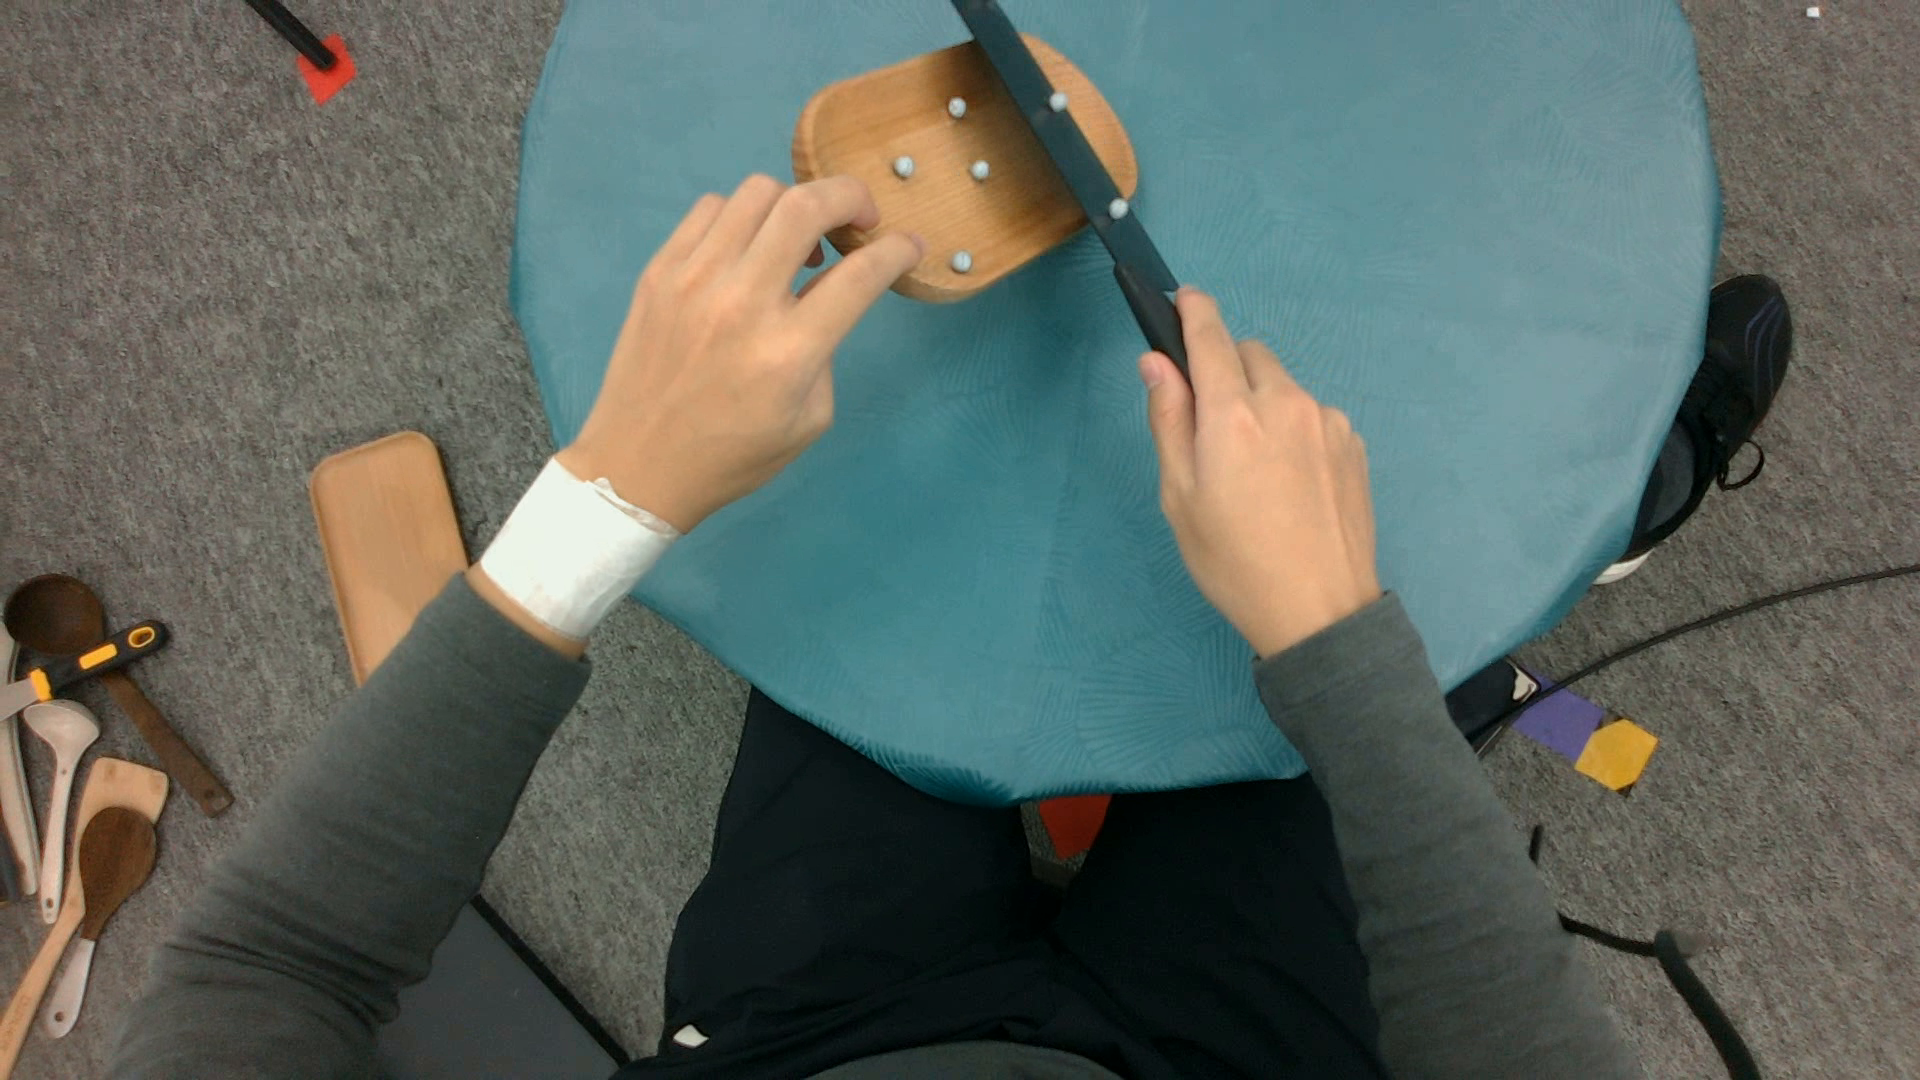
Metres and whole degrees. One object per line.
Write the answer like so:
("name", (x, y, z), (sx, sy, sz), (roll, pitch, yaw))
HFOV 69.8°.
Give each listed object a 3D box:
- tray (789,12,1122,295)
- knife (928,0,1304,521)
("tray", (0.005, -0.176, 0.611), (0.020, 0.232, 0.101), (-34, 98, 40))
("knife", (0.062, -0.138, 0.604), (0.021, 0.081, 0.302), (-37, 75, 28))
